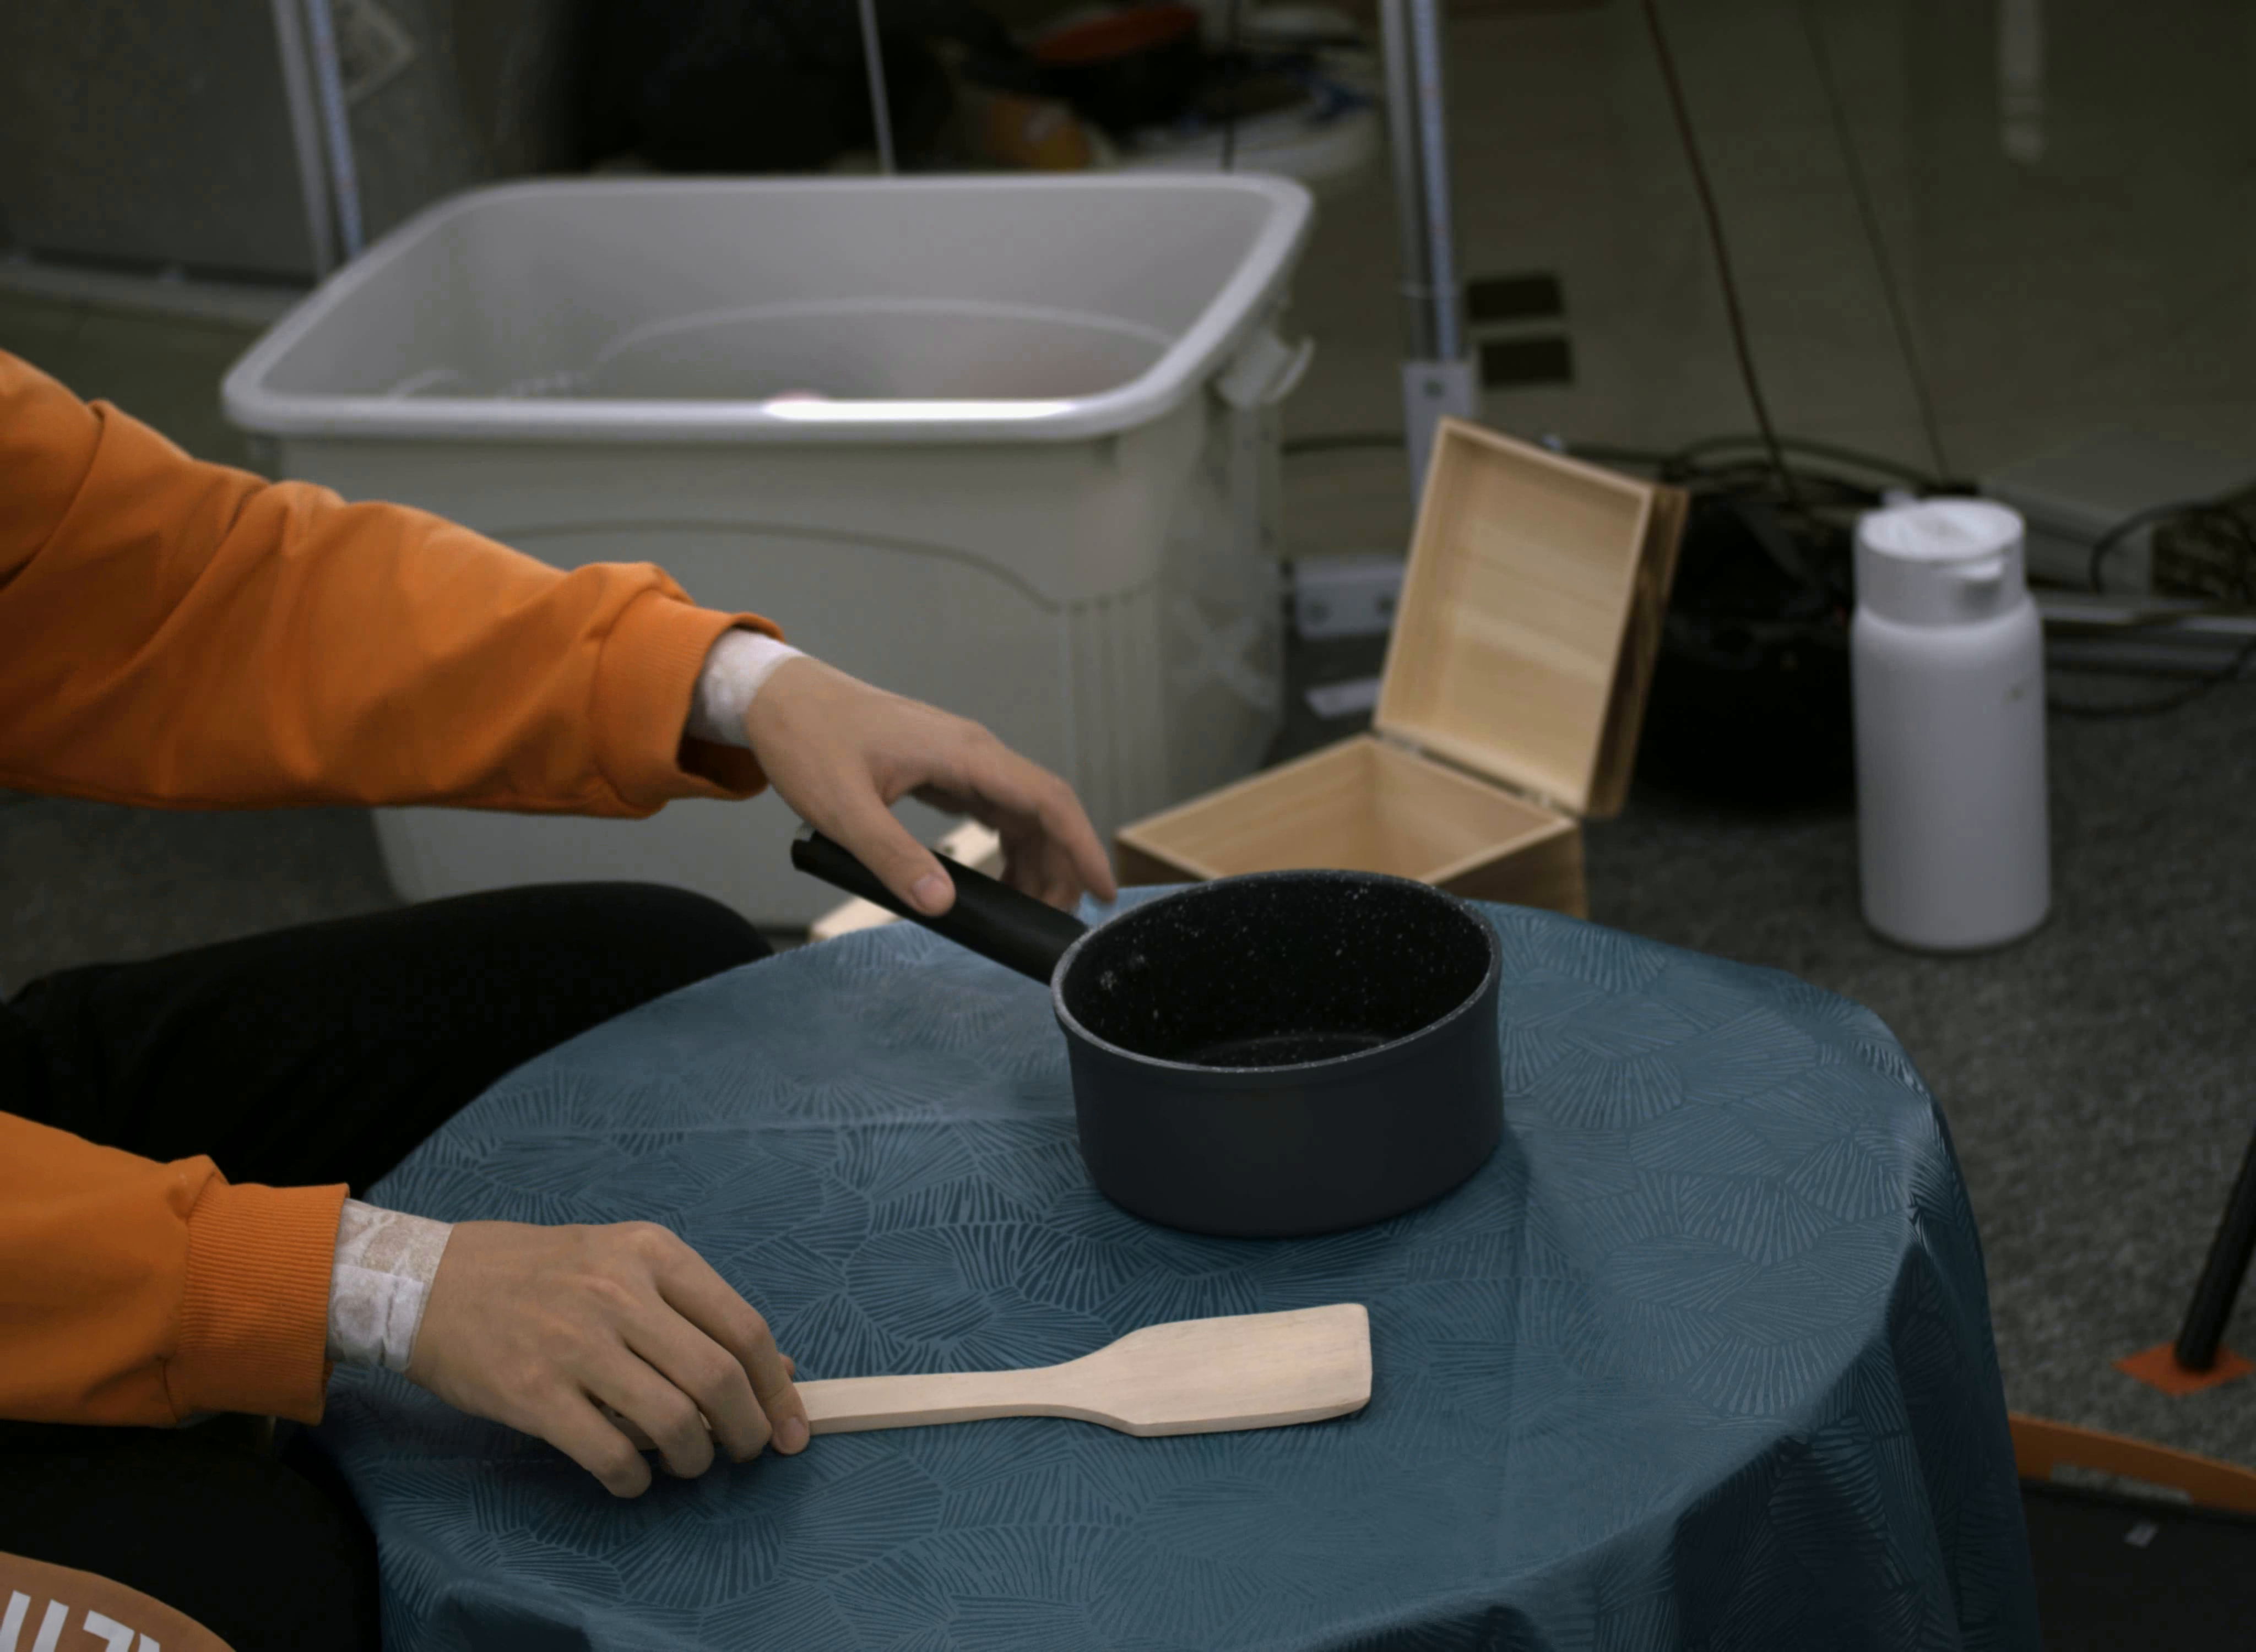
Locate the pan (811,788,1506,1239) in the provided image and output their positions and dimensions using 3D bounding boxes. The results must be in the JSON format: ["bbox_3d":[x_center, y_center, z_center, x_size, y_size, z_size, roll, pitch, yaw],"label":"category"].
[{"bbox_3d":[0.001,0.066,2.202,0.326,0.088,0.170,19,34,39],"label":"pan"}]

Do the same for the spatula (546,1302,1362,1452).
[{"bbox_3d":[-0.062,0.203,2.016,0.292,0.011,0.071,-5,28,3],"label":"spatula"}]
